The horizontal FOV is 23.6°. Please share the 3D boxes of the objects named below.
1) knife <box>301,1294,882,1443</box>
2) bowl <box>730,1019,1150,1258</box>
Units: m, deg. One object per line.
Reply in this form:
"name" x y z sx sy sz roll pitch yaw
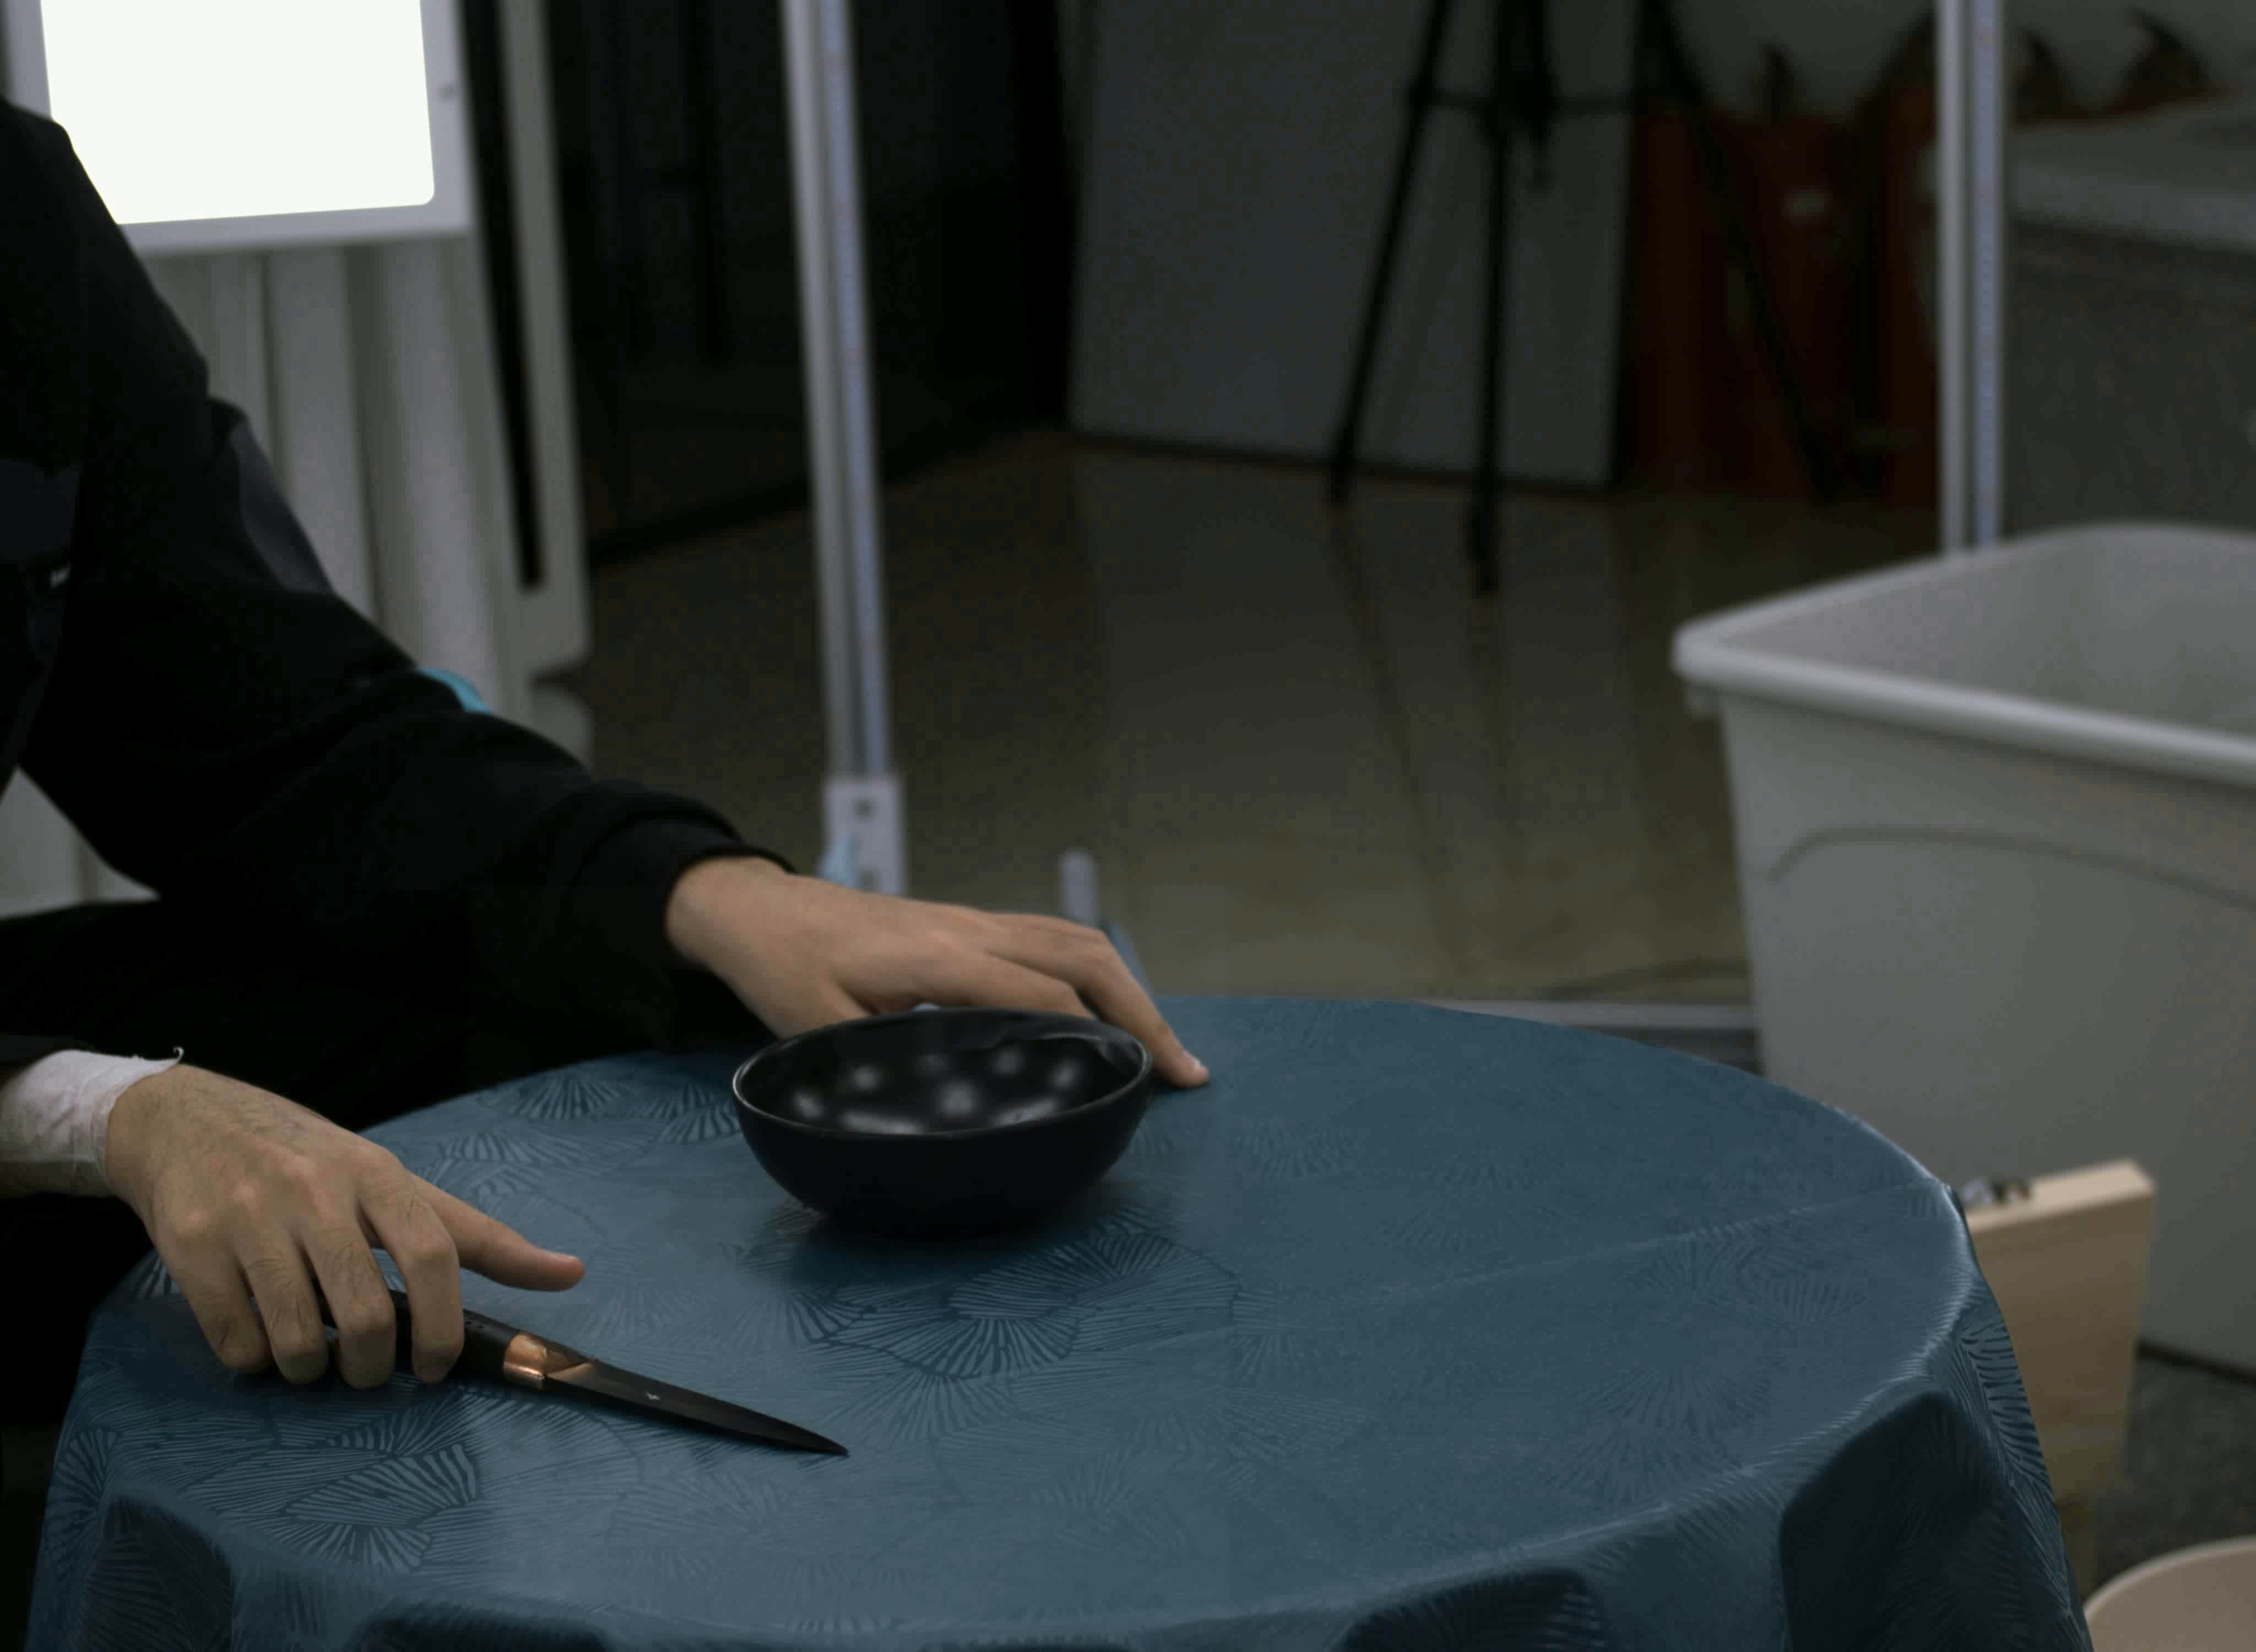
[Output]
"knife" -0.163 0.165 1.620 0.227 0.017 0.026 8 15 38
"bowl" -0.058 0.106 1.758 0.138 0.050 0.140 -8 13 1
